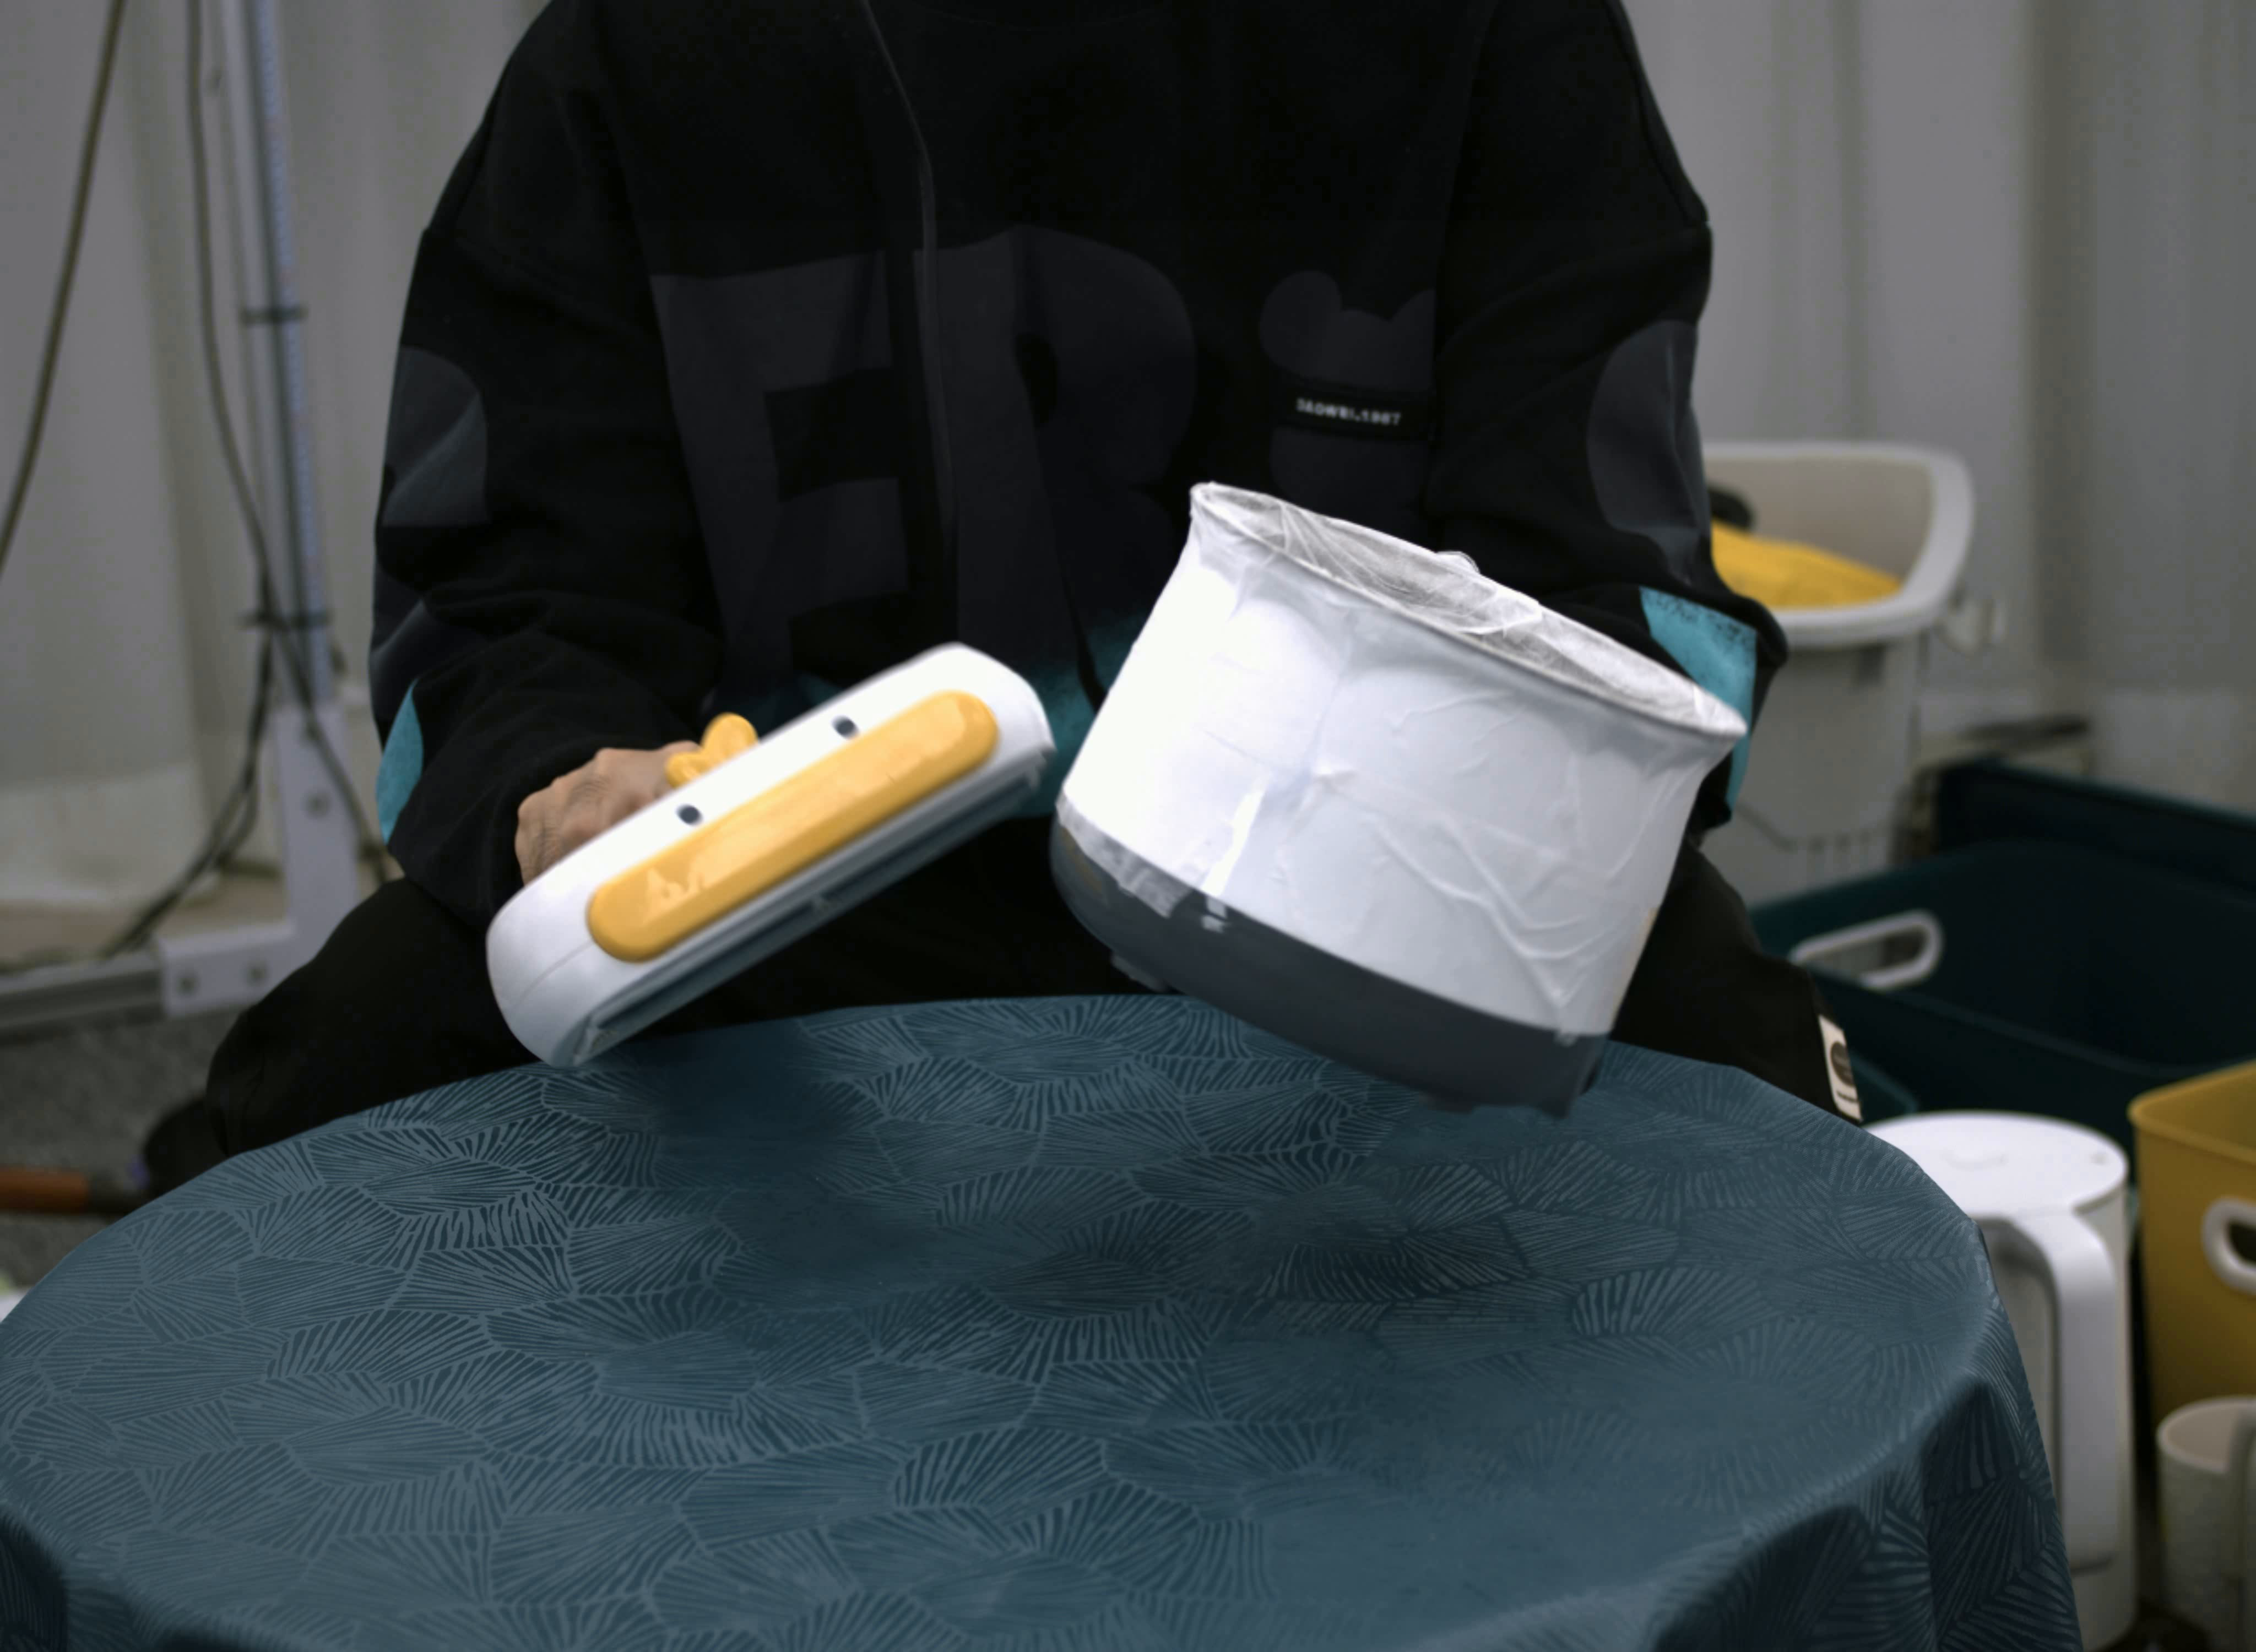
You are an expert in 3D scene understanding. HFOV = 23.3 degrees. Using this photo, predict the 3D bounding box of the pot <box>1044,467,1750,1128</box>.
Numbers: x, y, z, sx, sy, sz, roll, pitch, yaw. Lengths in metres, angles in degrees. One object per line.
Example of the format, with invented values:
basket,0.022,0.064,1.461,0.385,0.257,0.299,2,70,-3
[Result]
pot,0.074,-0.013,1.625,0.178,0.136,0.235,26,10,-3

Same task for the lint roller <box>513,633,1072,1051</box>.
lint roller,-0.127,0.014,1.722,0.193,0.074,0.191,-35,0,-28
